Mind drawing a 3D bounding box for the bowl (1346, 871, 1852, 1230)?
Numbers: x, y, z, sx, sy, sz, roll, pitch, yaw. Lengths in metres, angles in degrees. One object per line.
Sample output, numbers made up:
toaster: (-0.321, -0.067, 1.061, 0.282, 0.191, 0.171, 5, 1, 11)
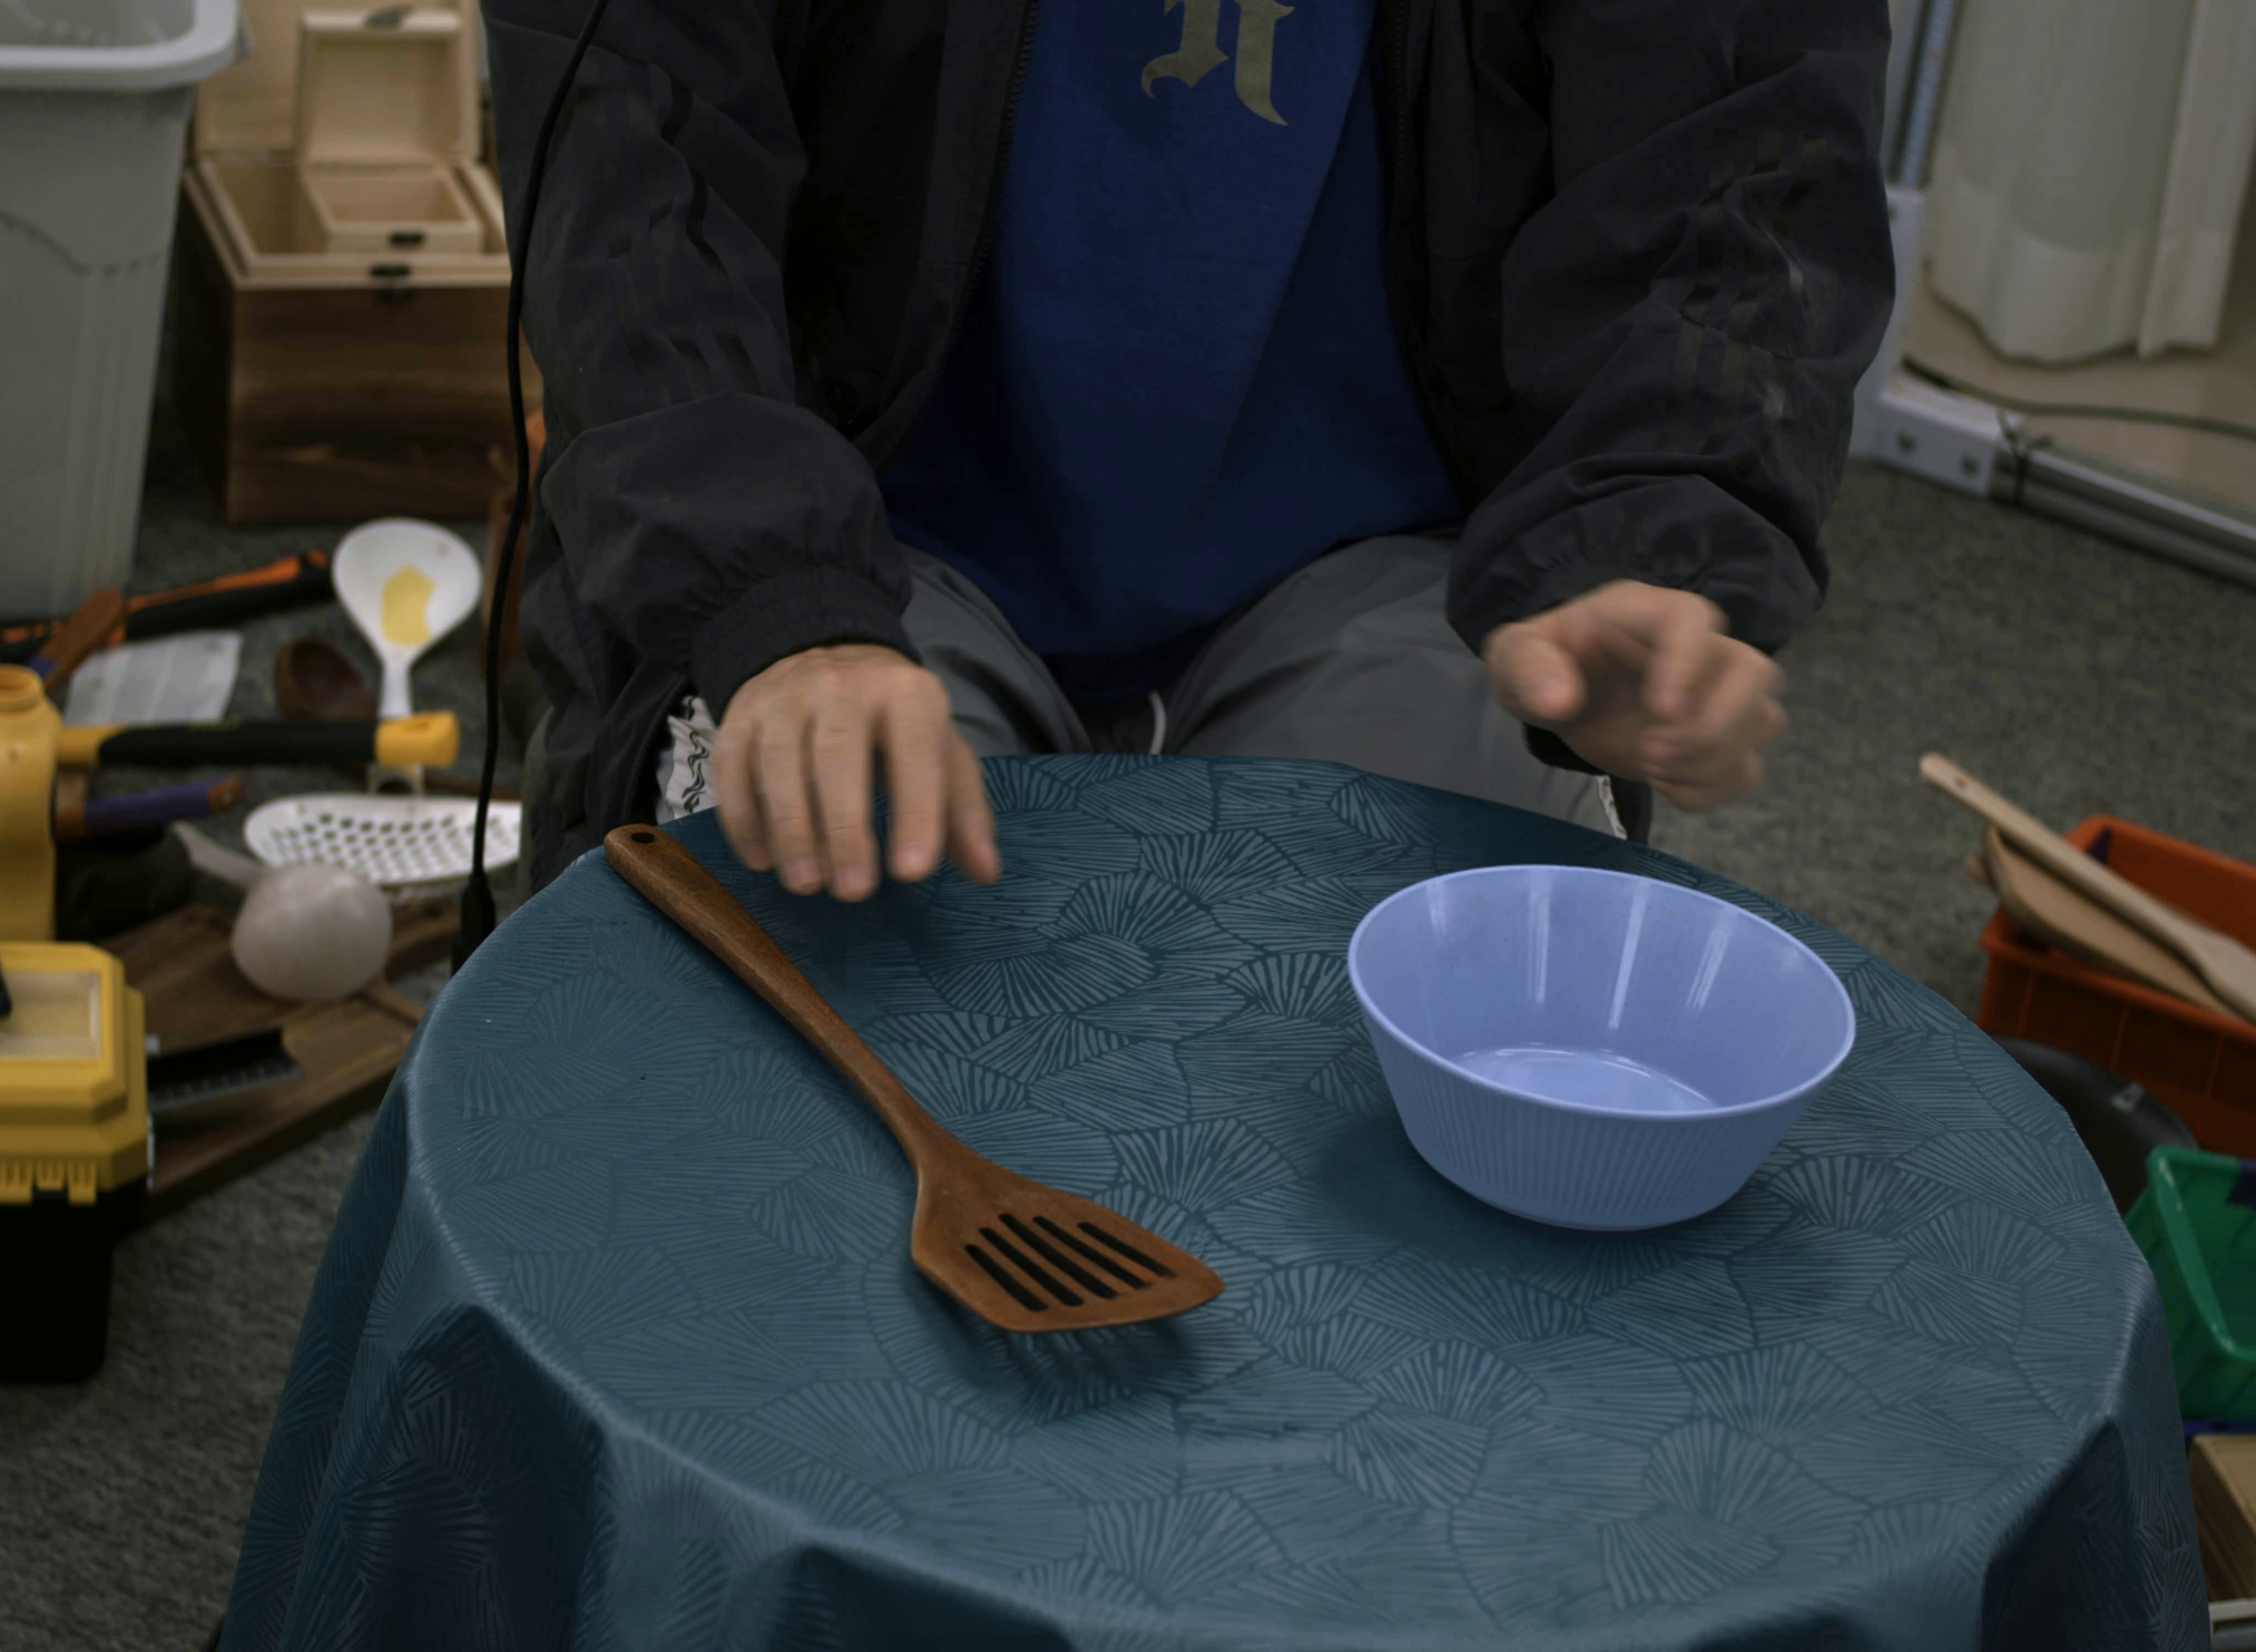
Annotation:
bowl: (0.158, 0.084, 1.841, 0.175, 0.070, 0.177, 5, 26, -3)

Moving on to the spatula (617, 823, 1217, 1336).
spatula: (-0.093, 0.085, 1.837, 0.085, 0.024, 0.390, -9, 29, -27)
